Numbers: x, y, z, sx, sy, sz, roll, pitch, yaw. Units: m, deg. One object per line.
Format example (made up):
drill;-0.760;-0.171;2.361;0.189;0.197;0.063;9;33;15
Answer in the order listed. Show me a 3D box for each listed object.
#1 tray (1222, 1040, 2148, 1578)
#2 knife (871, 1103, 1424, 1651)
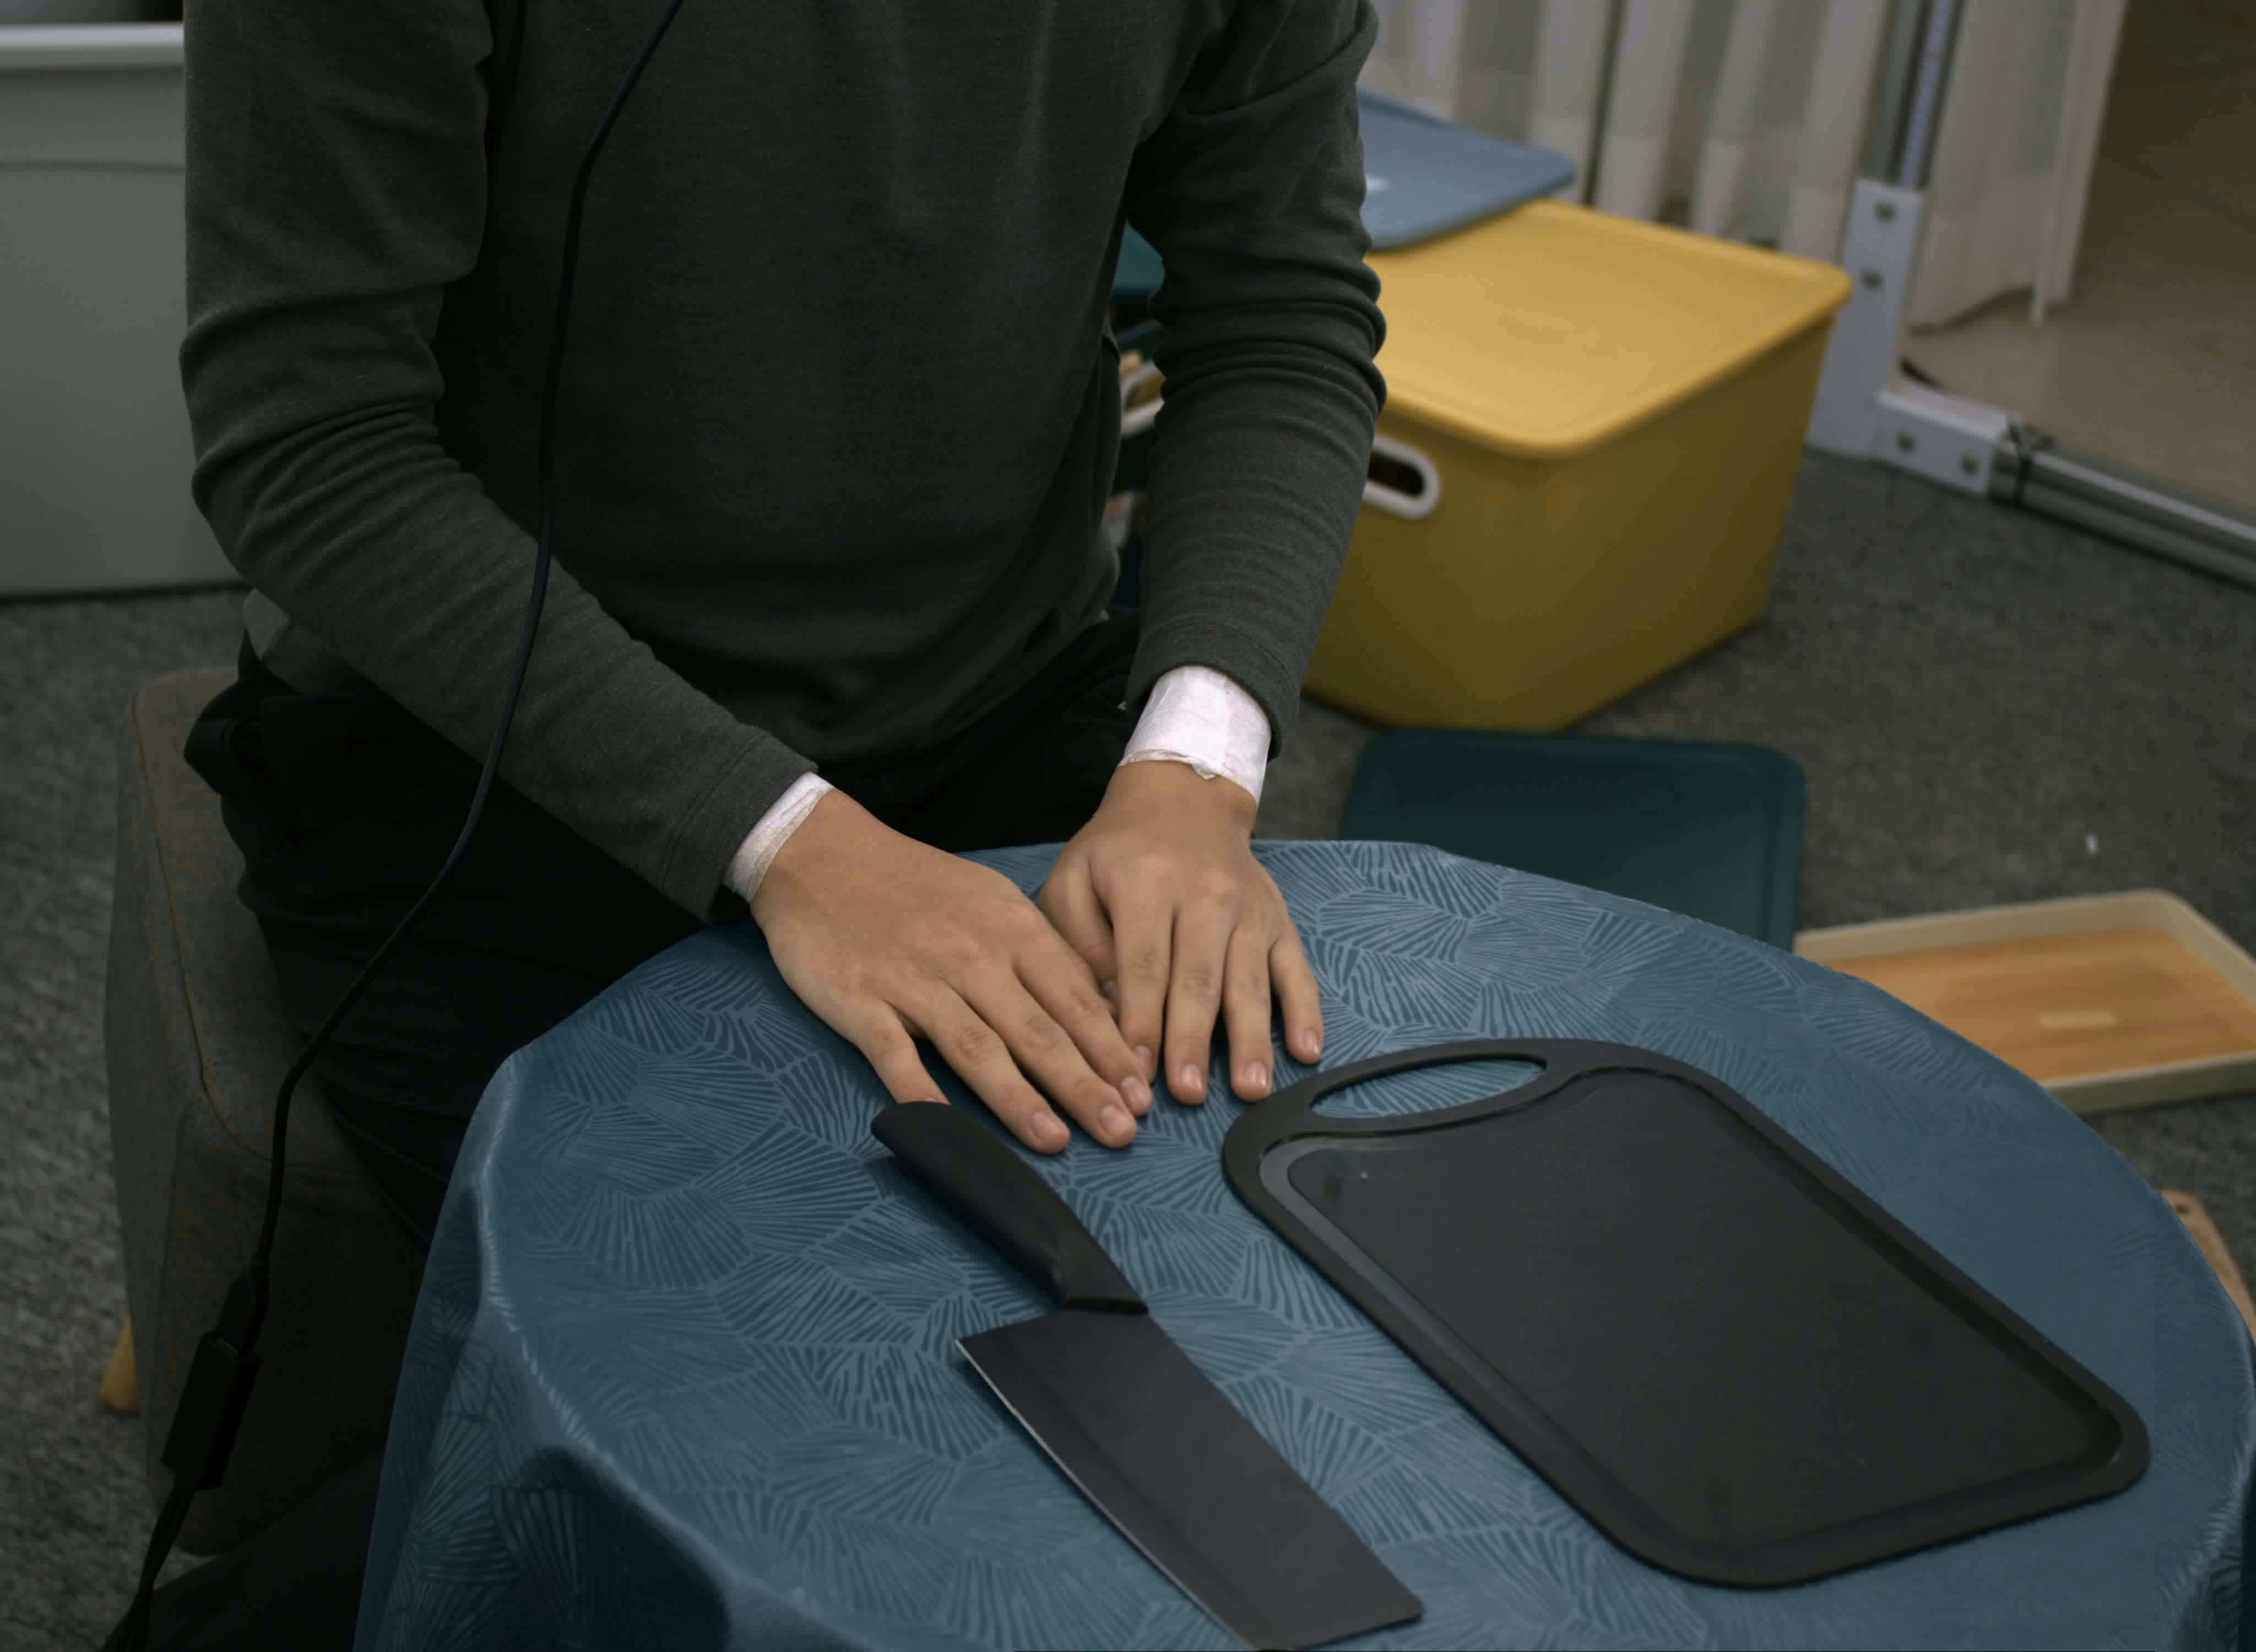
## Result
tray;0.177;0.152;1.784;0.210;0.010;0.328;-9;30;-29
knife;-0.009;0.172;1.694;0.080;0.021;0.305;-8;32;-25
